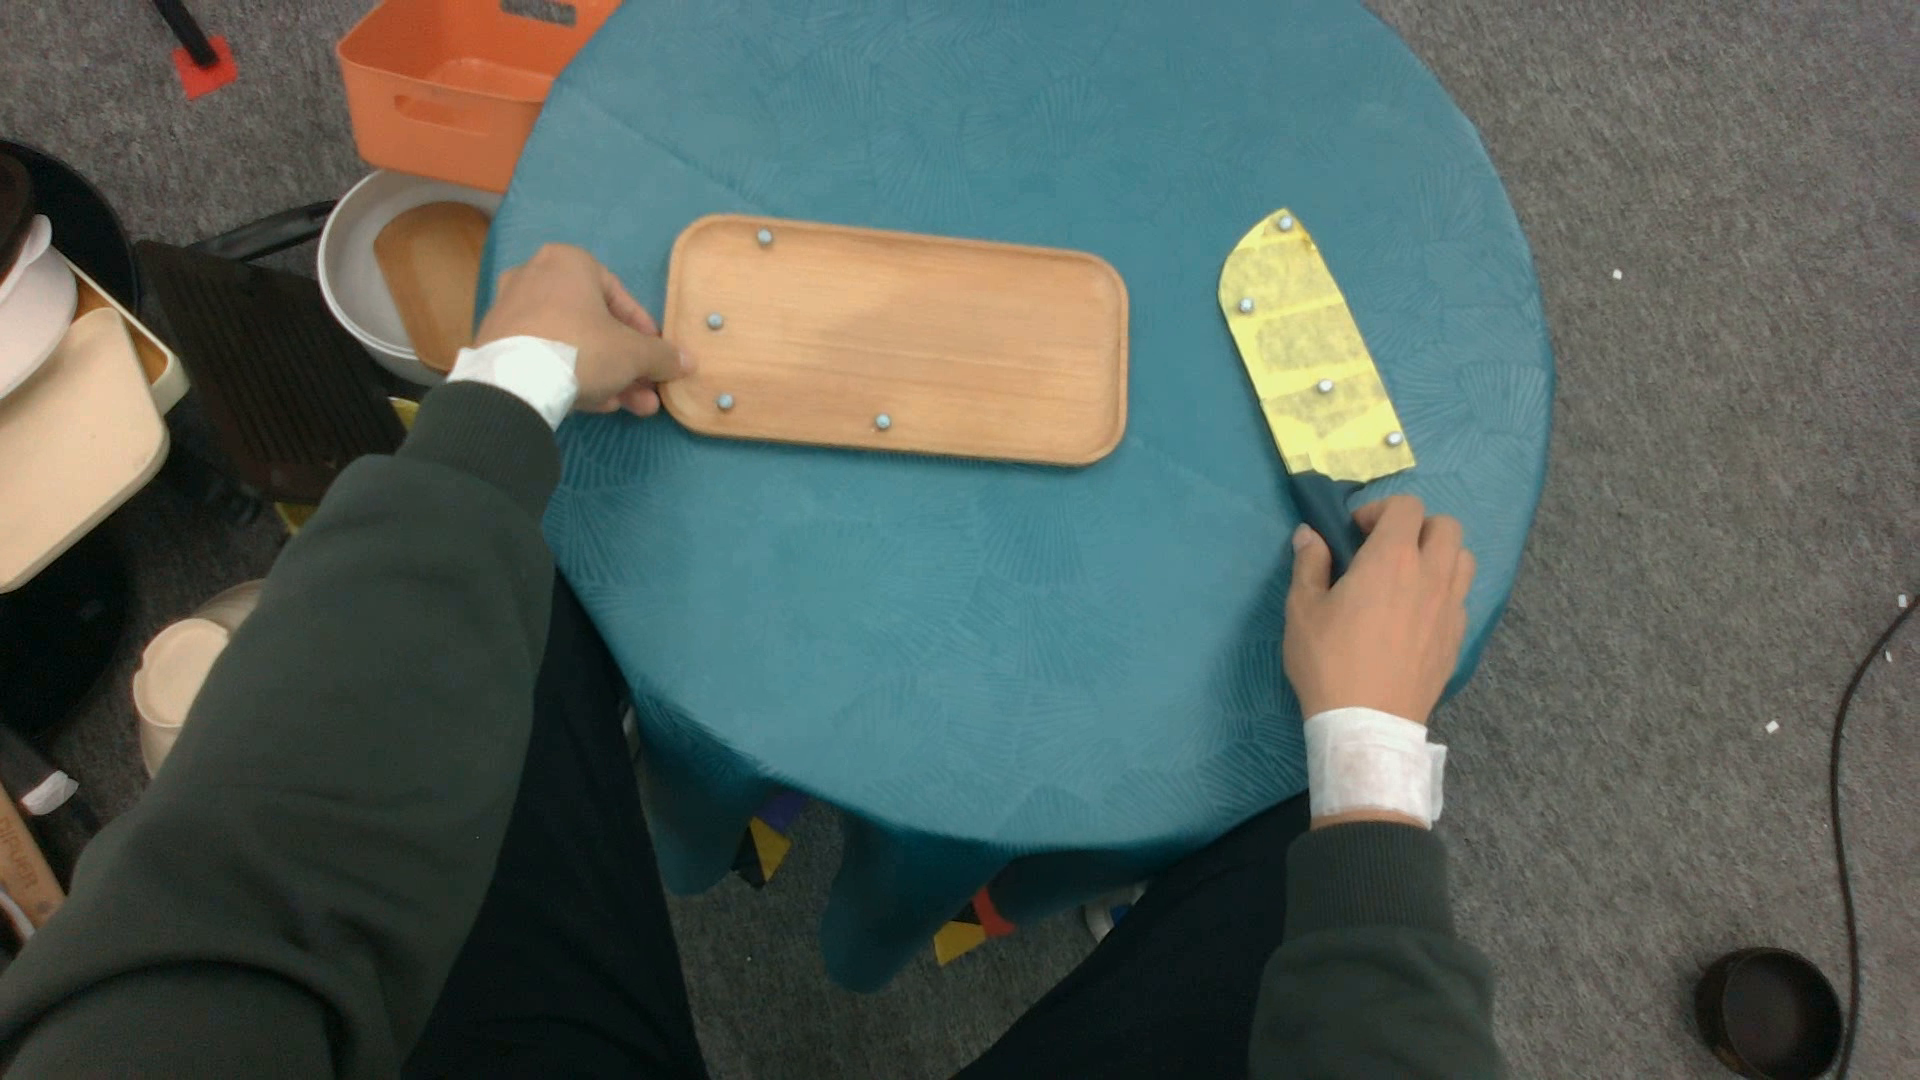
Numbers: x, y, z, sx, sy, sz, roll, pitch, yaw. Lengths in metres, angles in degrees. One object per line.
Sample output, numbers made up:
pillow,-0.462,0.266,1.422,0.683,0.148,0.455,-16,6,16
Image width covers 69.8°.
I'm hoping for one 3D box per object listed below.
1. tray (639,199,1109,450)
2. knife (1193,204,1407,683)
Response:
tray,-0.043,-0.116,0.746,0.251,0.023,0.131,4,75,-8
knife,0.199,-0.062,0.767,0.081,0.027,0.290,-13,75,-10
